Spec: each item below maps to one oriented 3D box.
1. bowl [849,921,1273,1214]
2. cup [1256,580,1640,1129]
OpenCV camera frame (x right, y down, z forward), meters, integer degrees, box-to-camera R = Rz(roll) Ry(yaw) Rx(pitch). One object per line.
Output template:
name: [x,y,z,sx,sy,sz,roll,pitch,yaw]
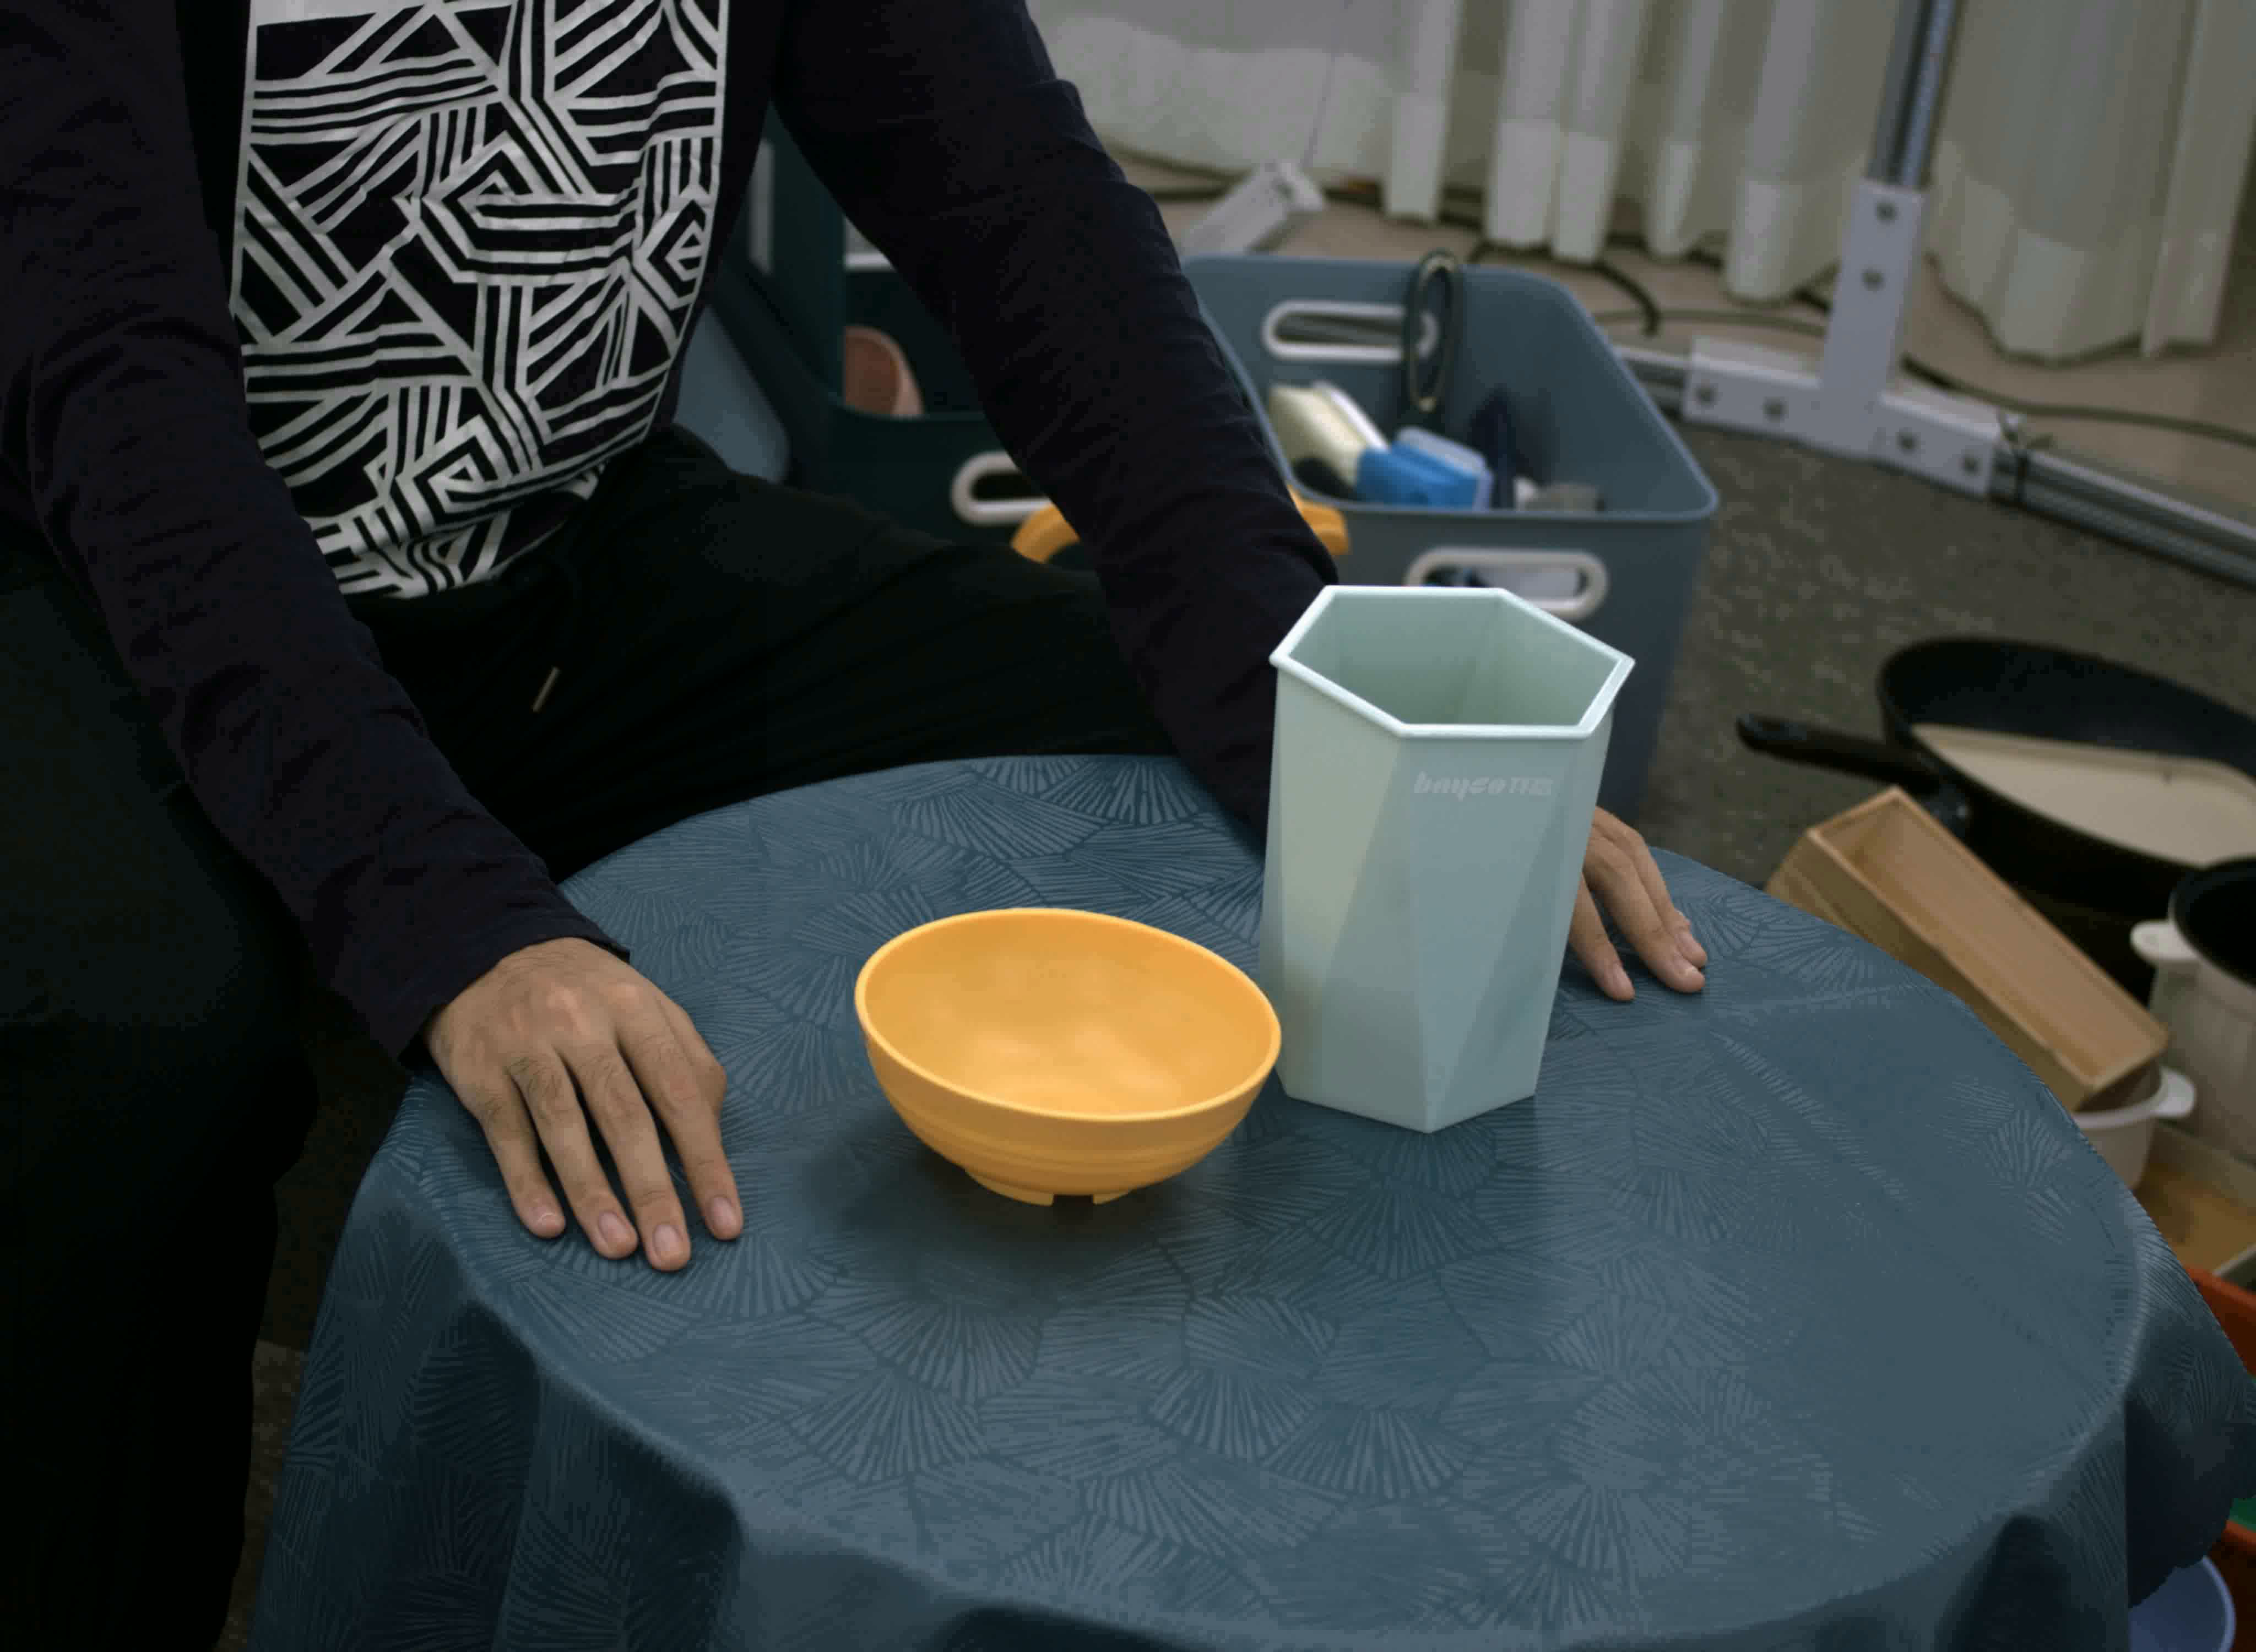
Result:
bowl: [-0.025,0.090,1.808,0.145,0.060,0.146,5,24,-3]
cup: [0.106,0.011,1.870,0.130,0.162,0.116,0,26,-14]
